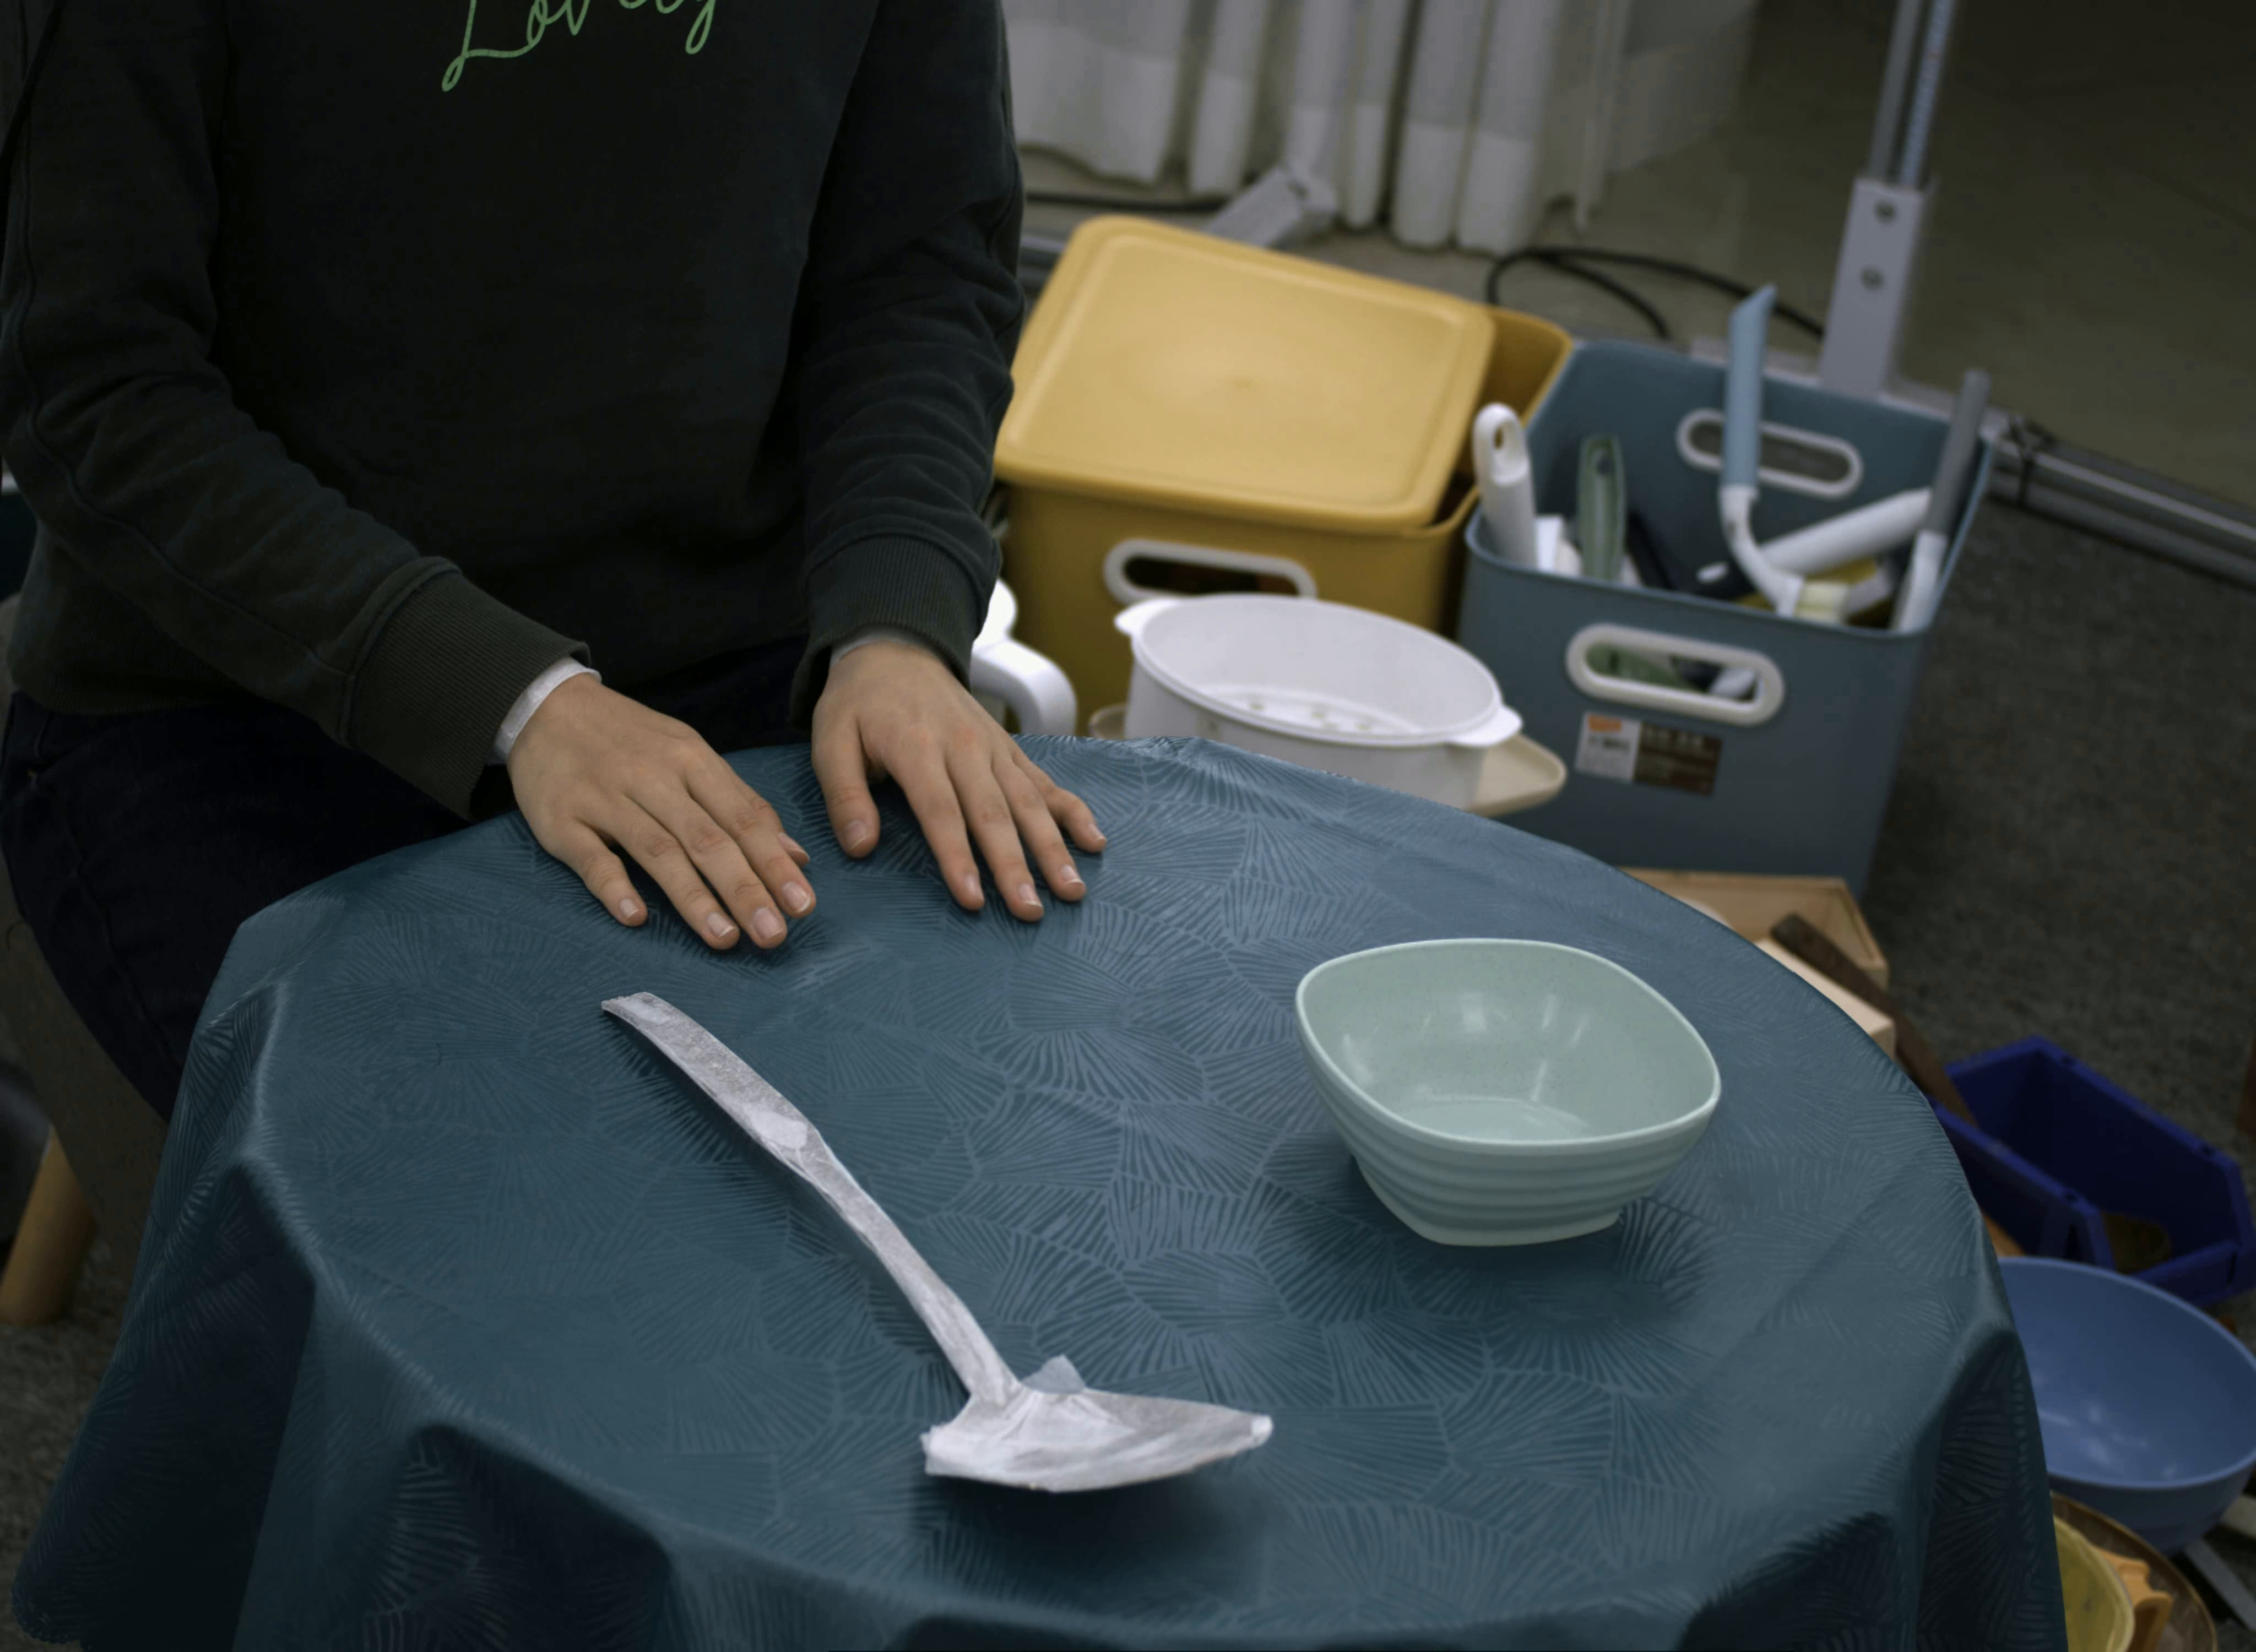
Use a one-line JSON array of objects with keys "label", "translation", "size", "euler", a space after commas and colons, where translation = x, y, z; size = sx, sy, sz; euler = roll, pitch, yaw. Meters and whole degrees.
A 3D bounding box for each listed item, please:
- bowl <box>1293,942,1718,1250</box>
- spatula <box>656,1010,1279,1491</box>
[{"label": "bowl", "translation": [0.124, 0.098, 1.818], "size": [0.151, 0.058, 0.152], "euler": [7, 26, -4]}, {"label": "spatula", "translation": [-0.077, 0.129, 1.729], "size": [0.098, 0.044, 0.368], "euler": [-11, 31, -27]}]
